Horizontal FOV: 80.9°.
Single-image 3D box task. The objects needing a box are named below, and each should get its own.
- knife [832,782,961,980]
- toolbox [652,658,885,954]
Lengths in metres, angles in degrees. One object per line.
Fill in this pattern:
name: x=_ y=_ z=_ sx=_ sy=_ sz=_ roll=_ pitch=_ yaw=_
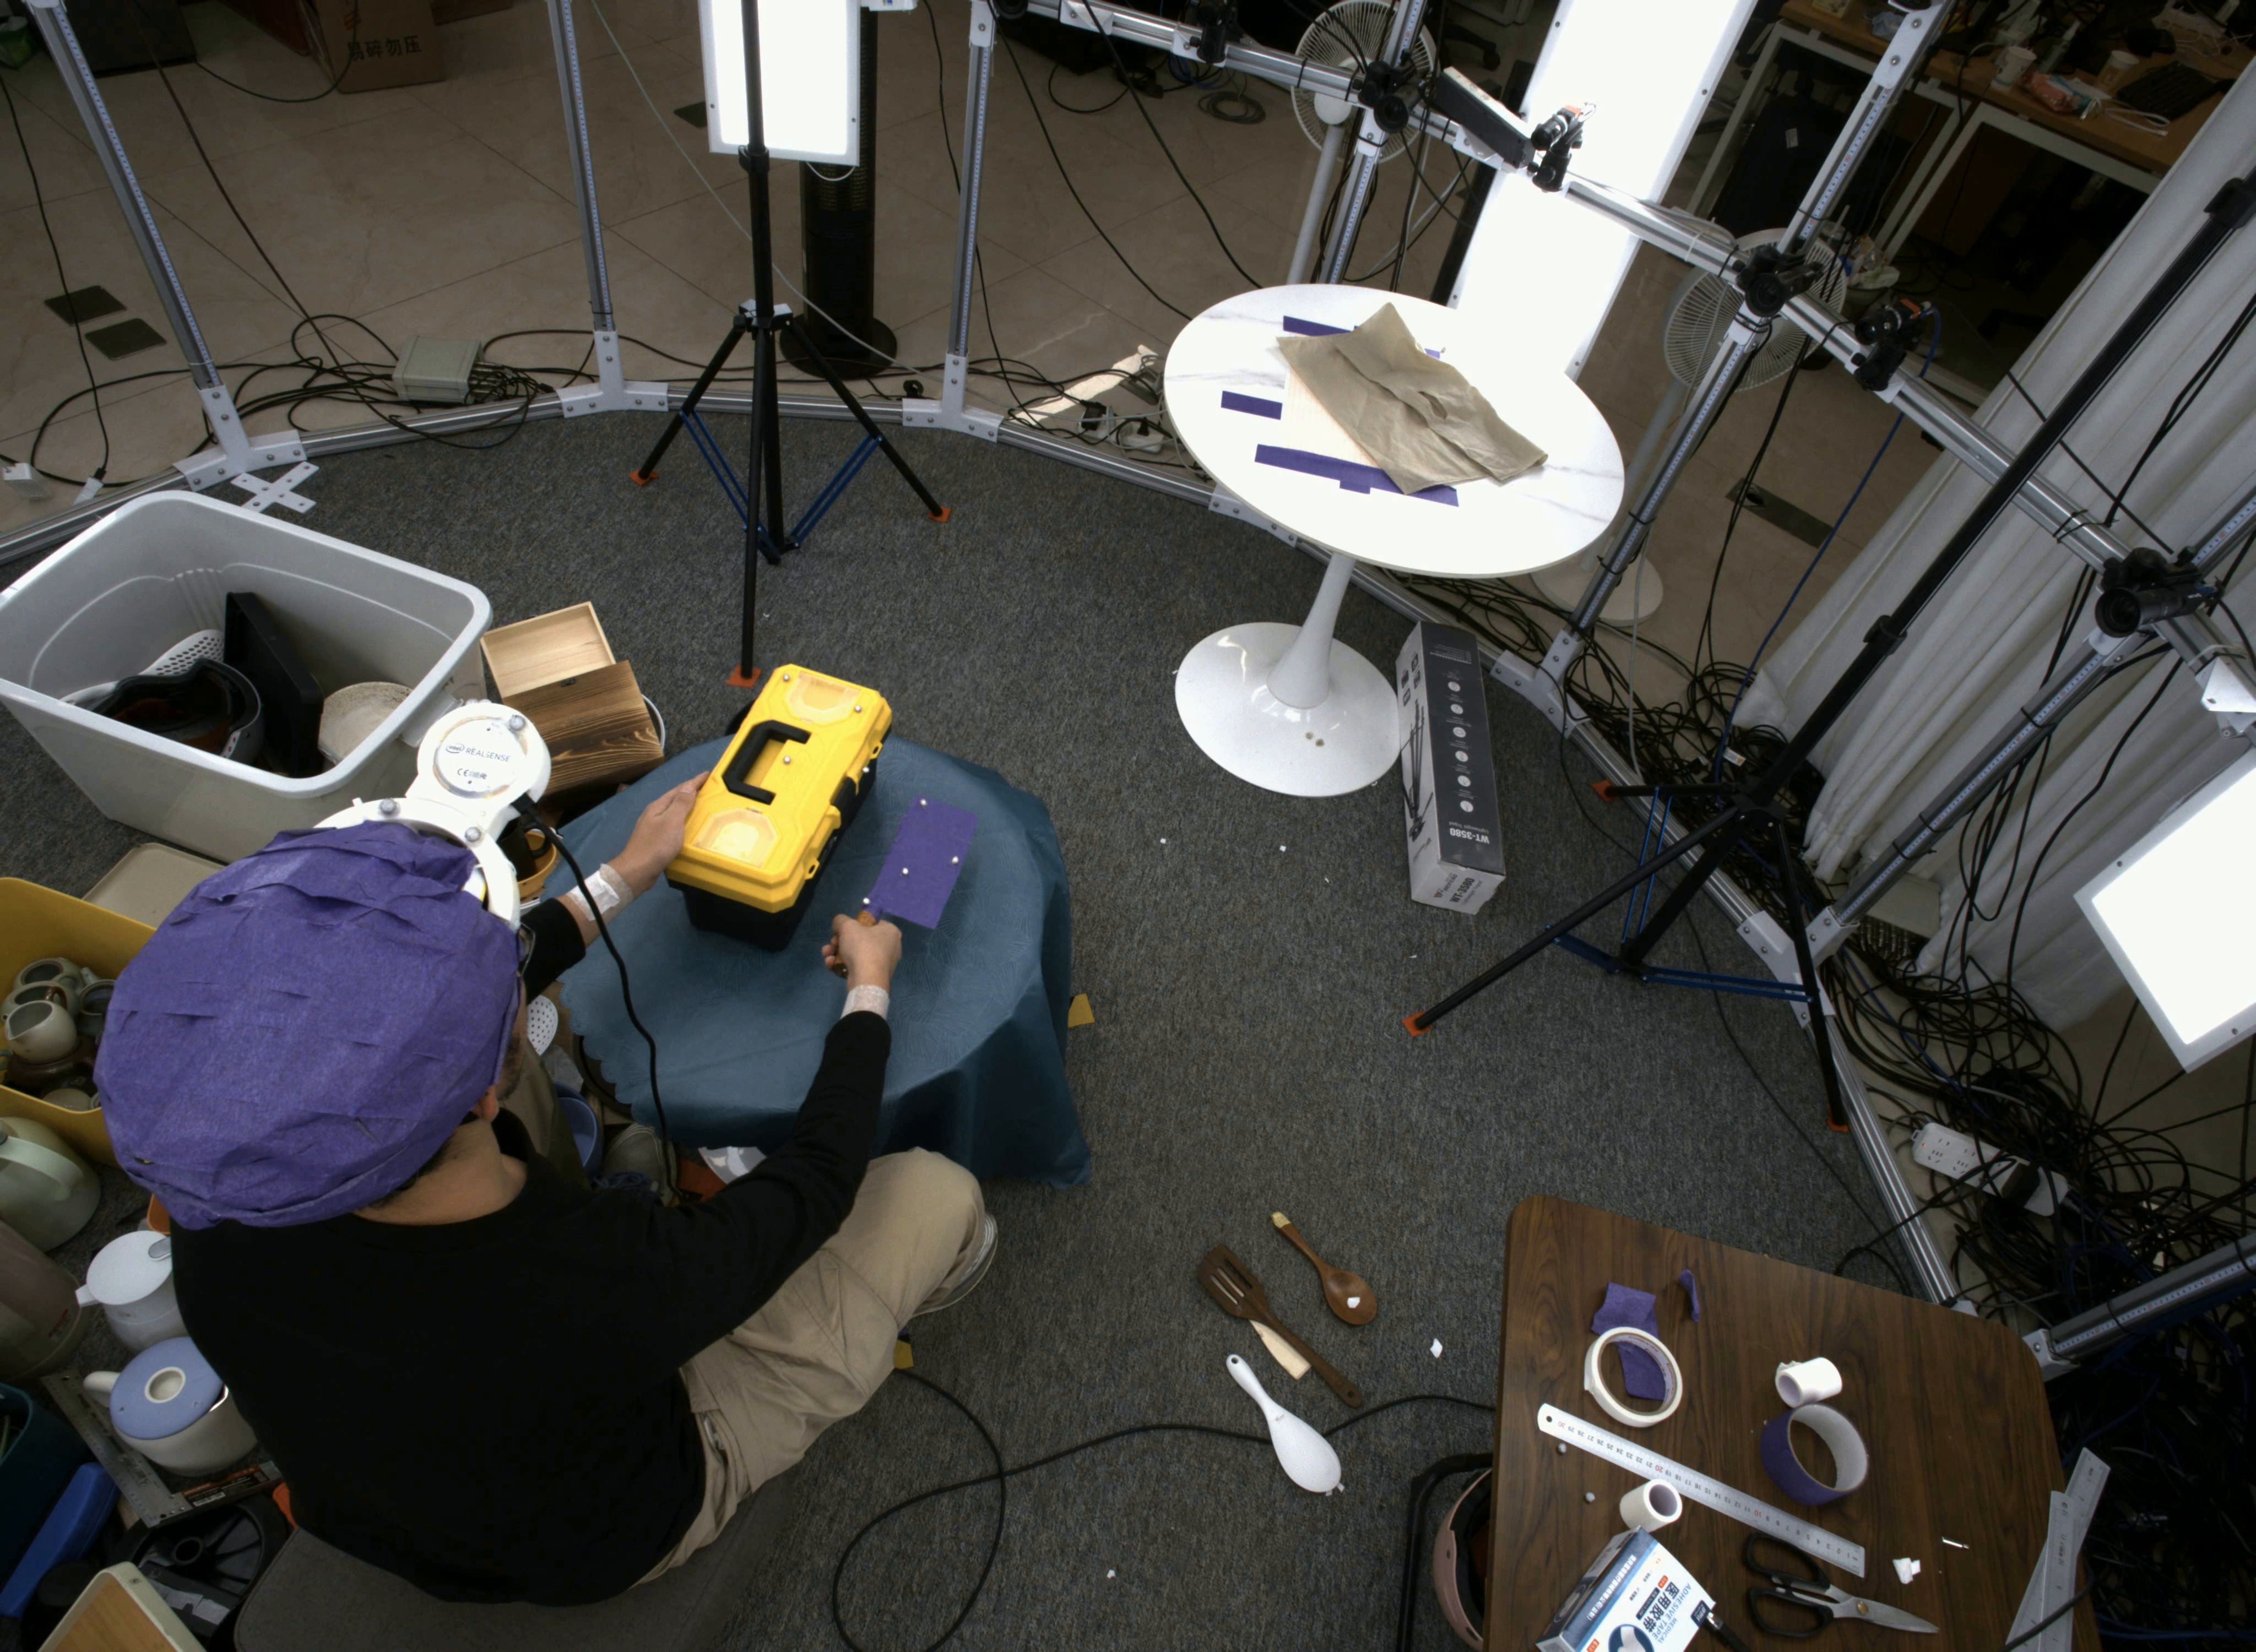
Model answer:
knife: x=-0.273 y=0.064 z=1.586 sx=0.104 sy=0.032 sz=0.310 roll=20 pitch=47 yaw=-8
toolbox: x=-0.441 y=-0.027 z=1.622 sx=0.179 sy=0.176 sz=0.347 roll=17 pitch=52 yaw=1
